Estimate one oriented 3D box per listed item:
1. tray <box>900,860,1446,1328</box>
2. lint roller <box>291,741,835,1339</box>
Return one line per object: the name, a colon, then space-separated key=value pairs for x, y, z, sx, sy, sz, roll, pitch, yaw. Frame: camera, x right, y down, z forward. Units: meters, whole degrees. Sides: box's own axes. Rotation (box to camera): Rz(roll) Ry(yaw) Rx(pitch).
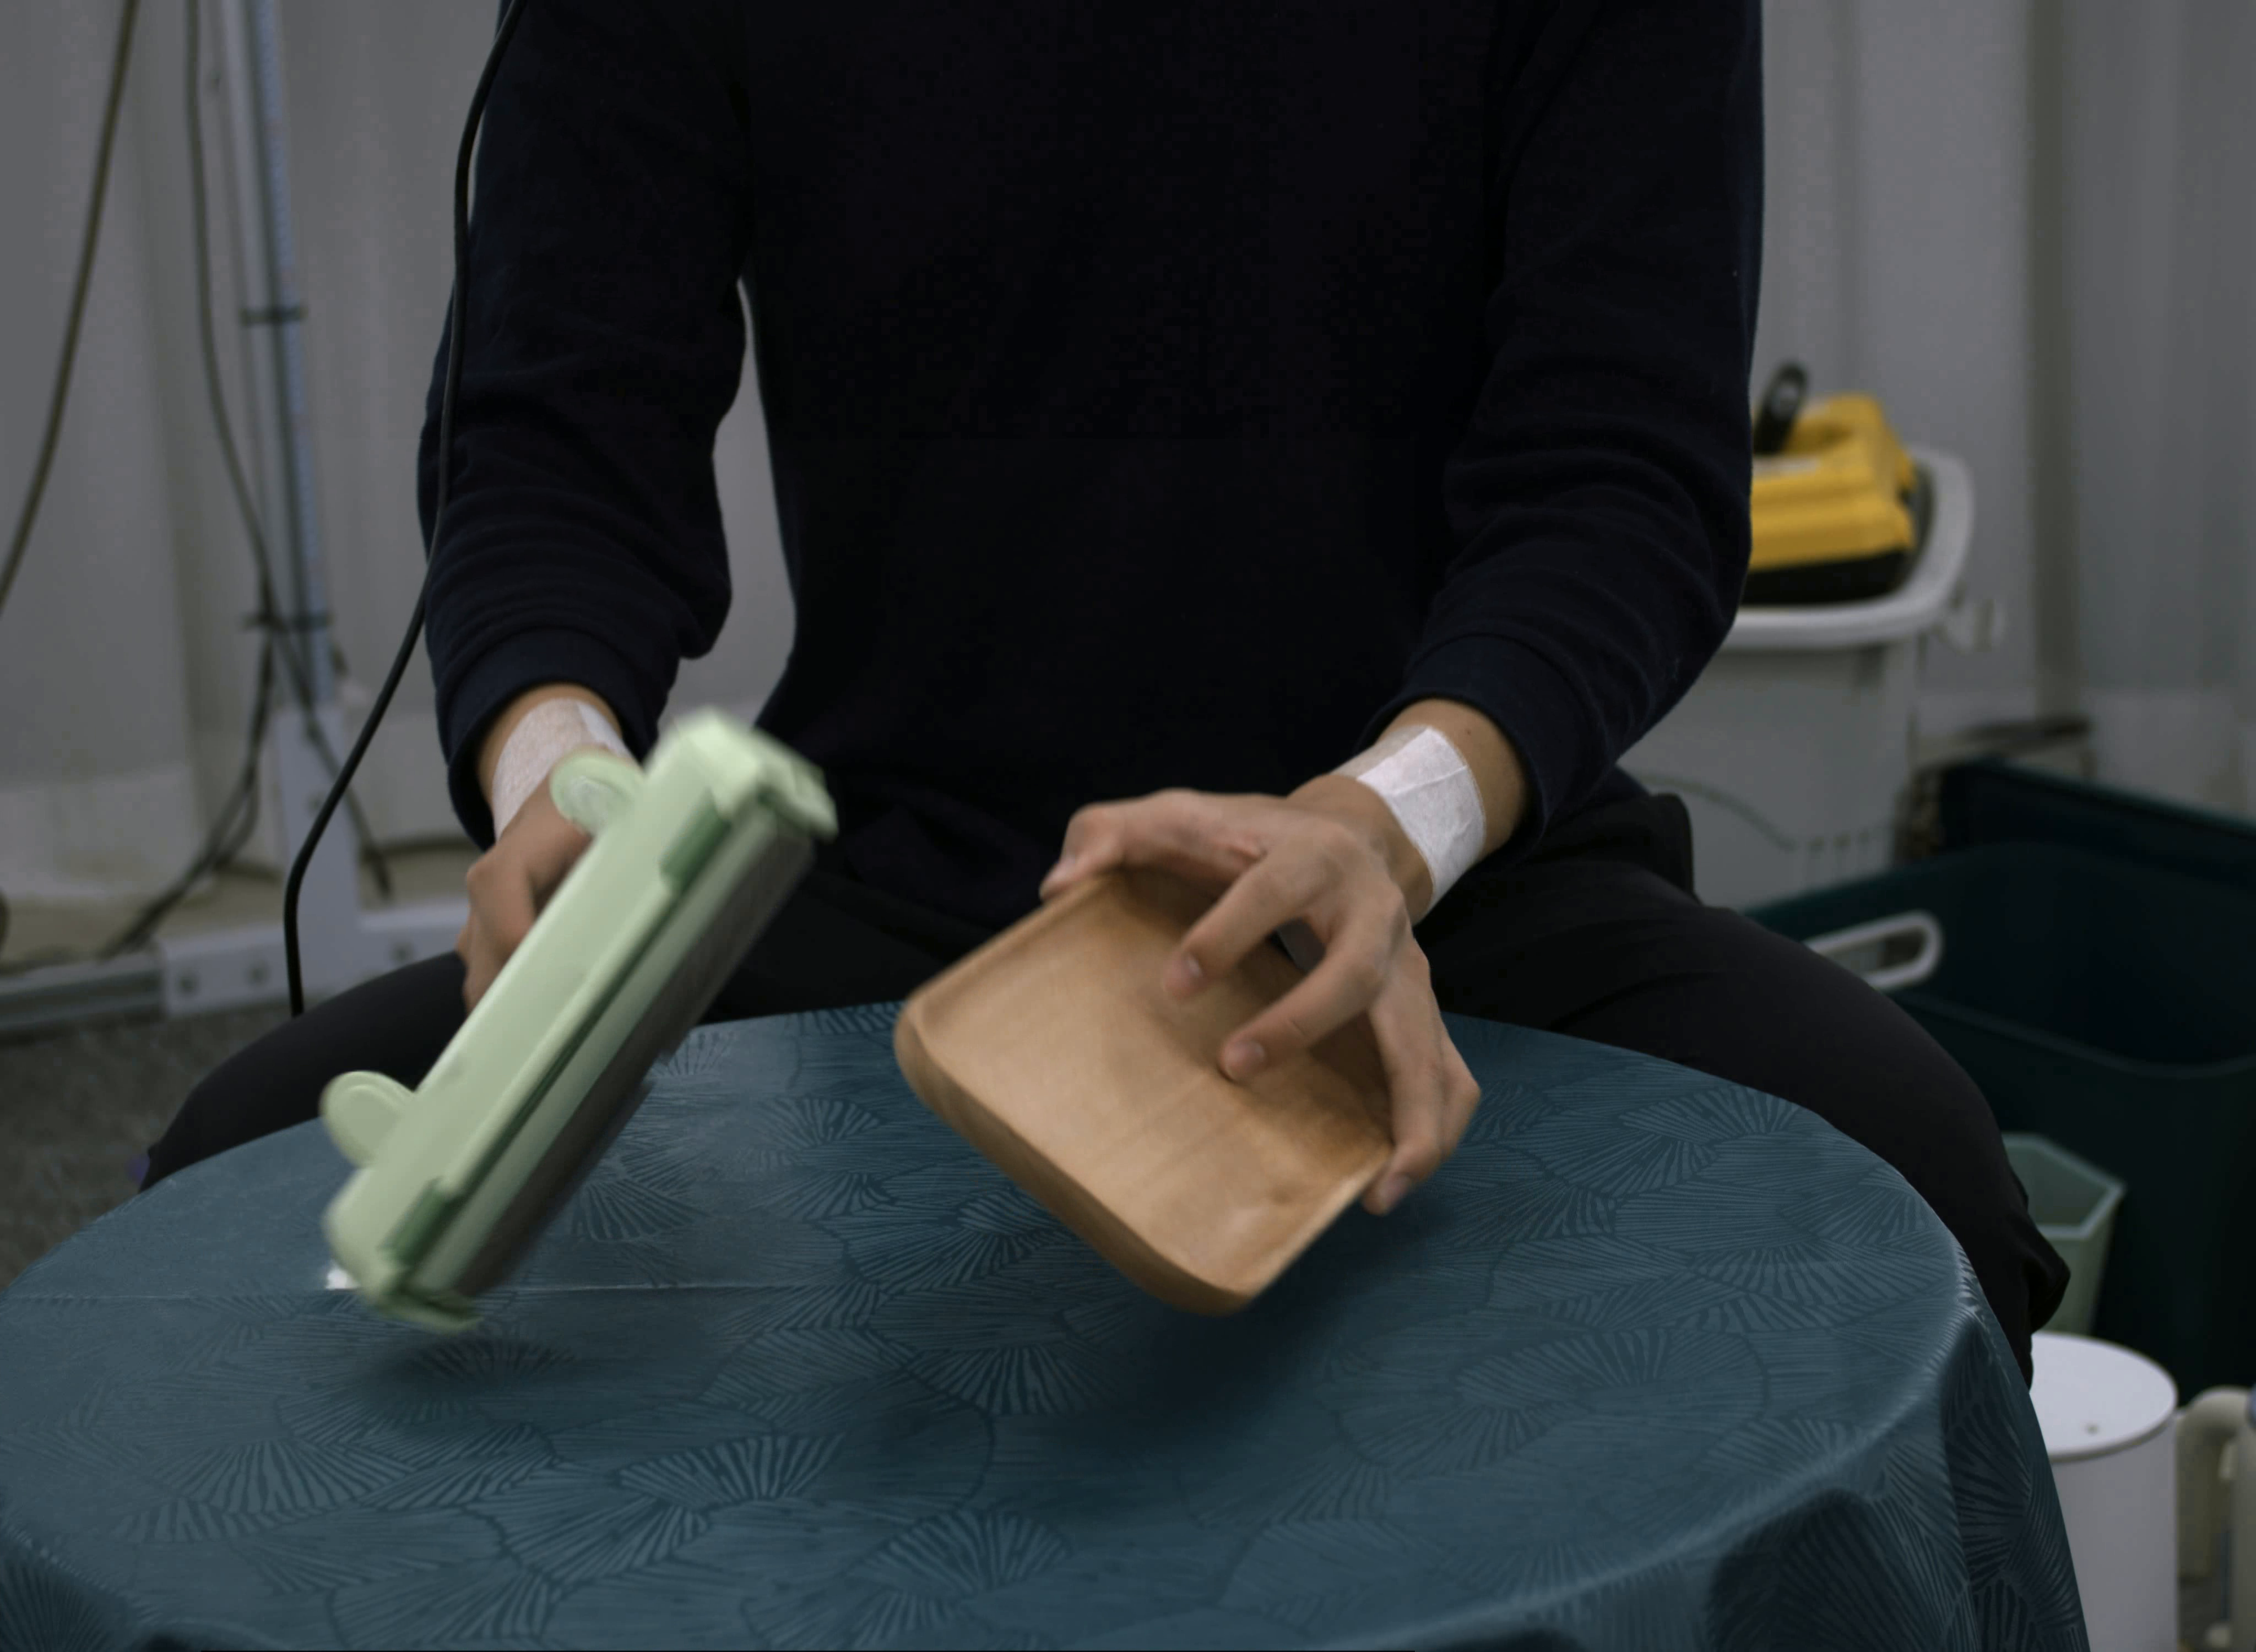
tray: x=0.016 y=0.075 z=1.596 sx=0.131 sy=0.023 sz=0.251 roll=41 pitch=19 yaw=6
lint roller: x=-0.180 y=0.043 z=1.638 sx=0.081 sy=0.198 sz=0.185 roll=40 pitch=4 yaw=-19
